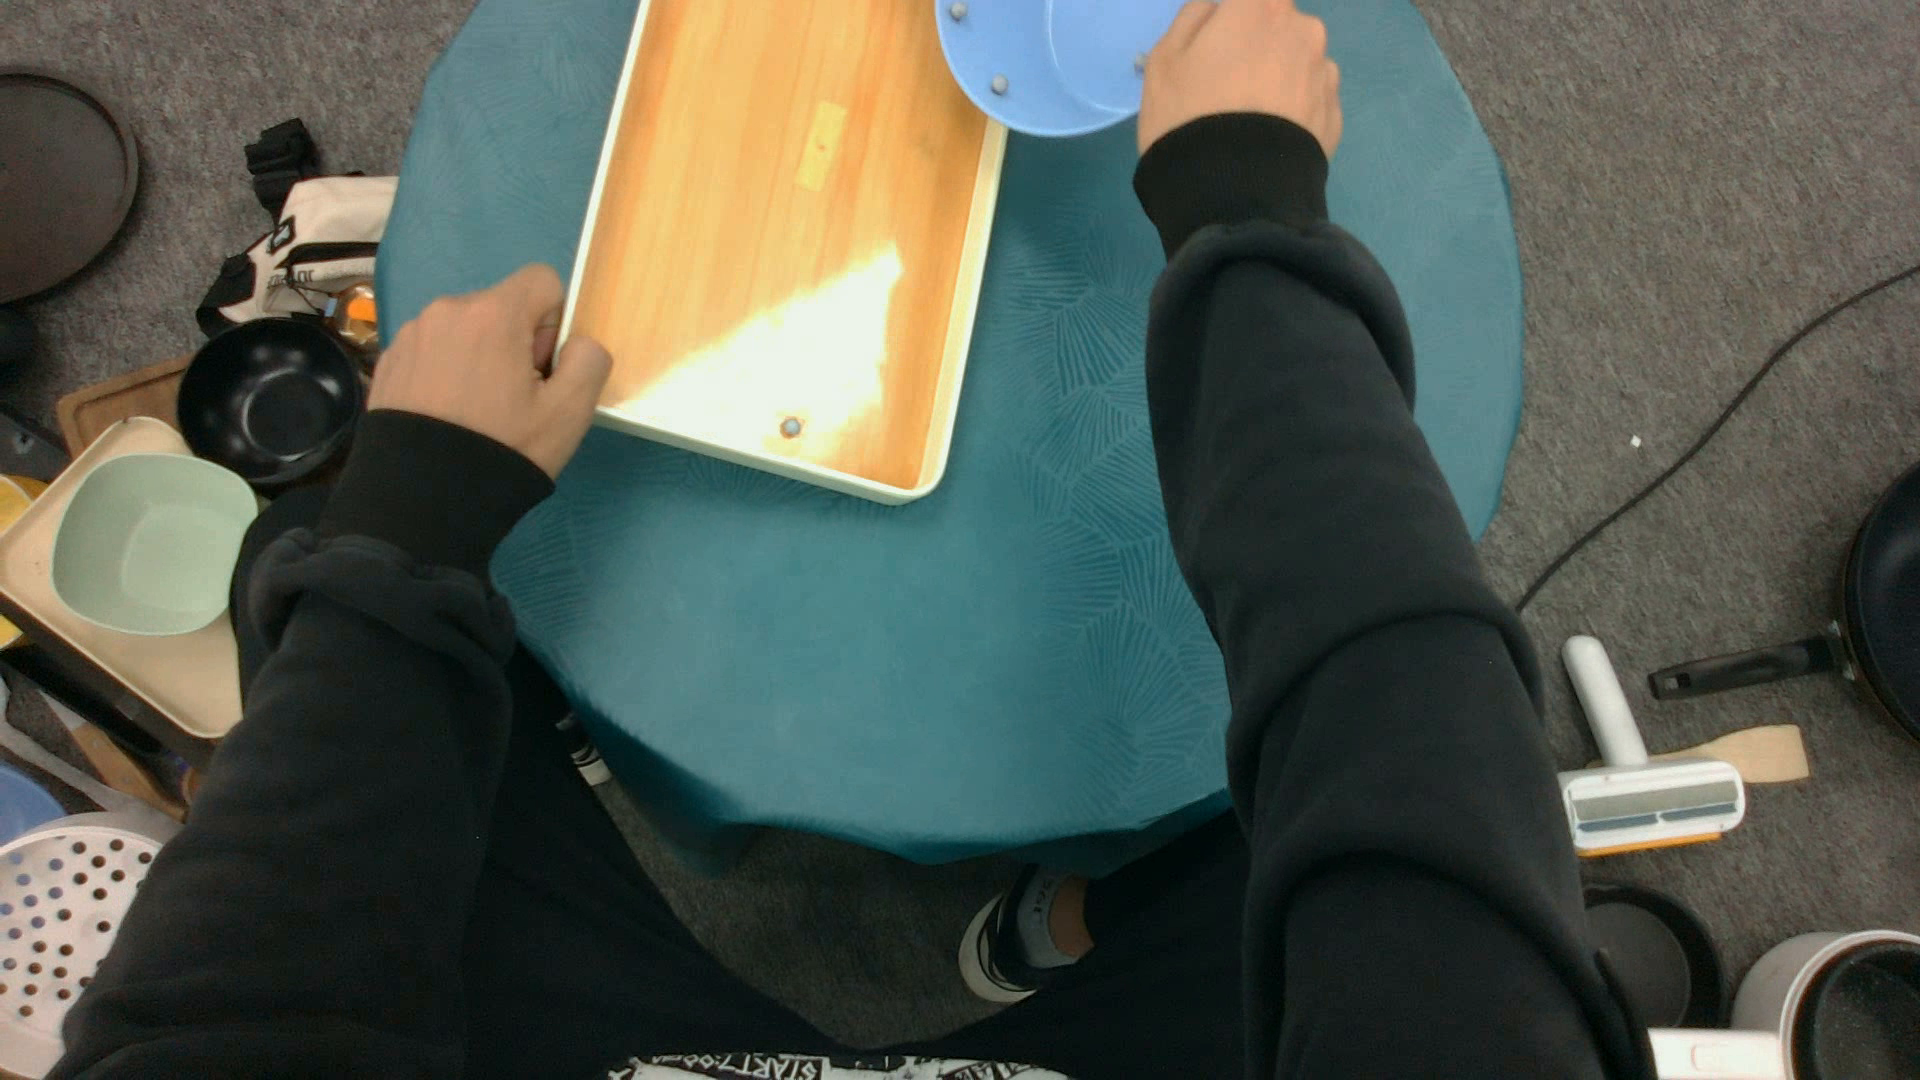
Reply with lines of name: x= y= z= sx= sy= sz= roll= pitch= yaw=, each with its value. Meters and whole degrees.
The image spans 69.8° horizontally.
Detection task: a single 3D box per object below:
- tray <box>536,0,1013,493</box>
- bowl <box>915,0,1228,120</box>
tray: x=-0.084 y=-0.186 z=0.688 sx=0.192 sy=0.027 sz=0.301 roll=15 pitch=74 yaw=-20
bowl: x=0.066 y=-0.281 z=0.663 sx=0.175 sy=0.070 sz=0.176 roll=-3 pitch=85 yaw=35
